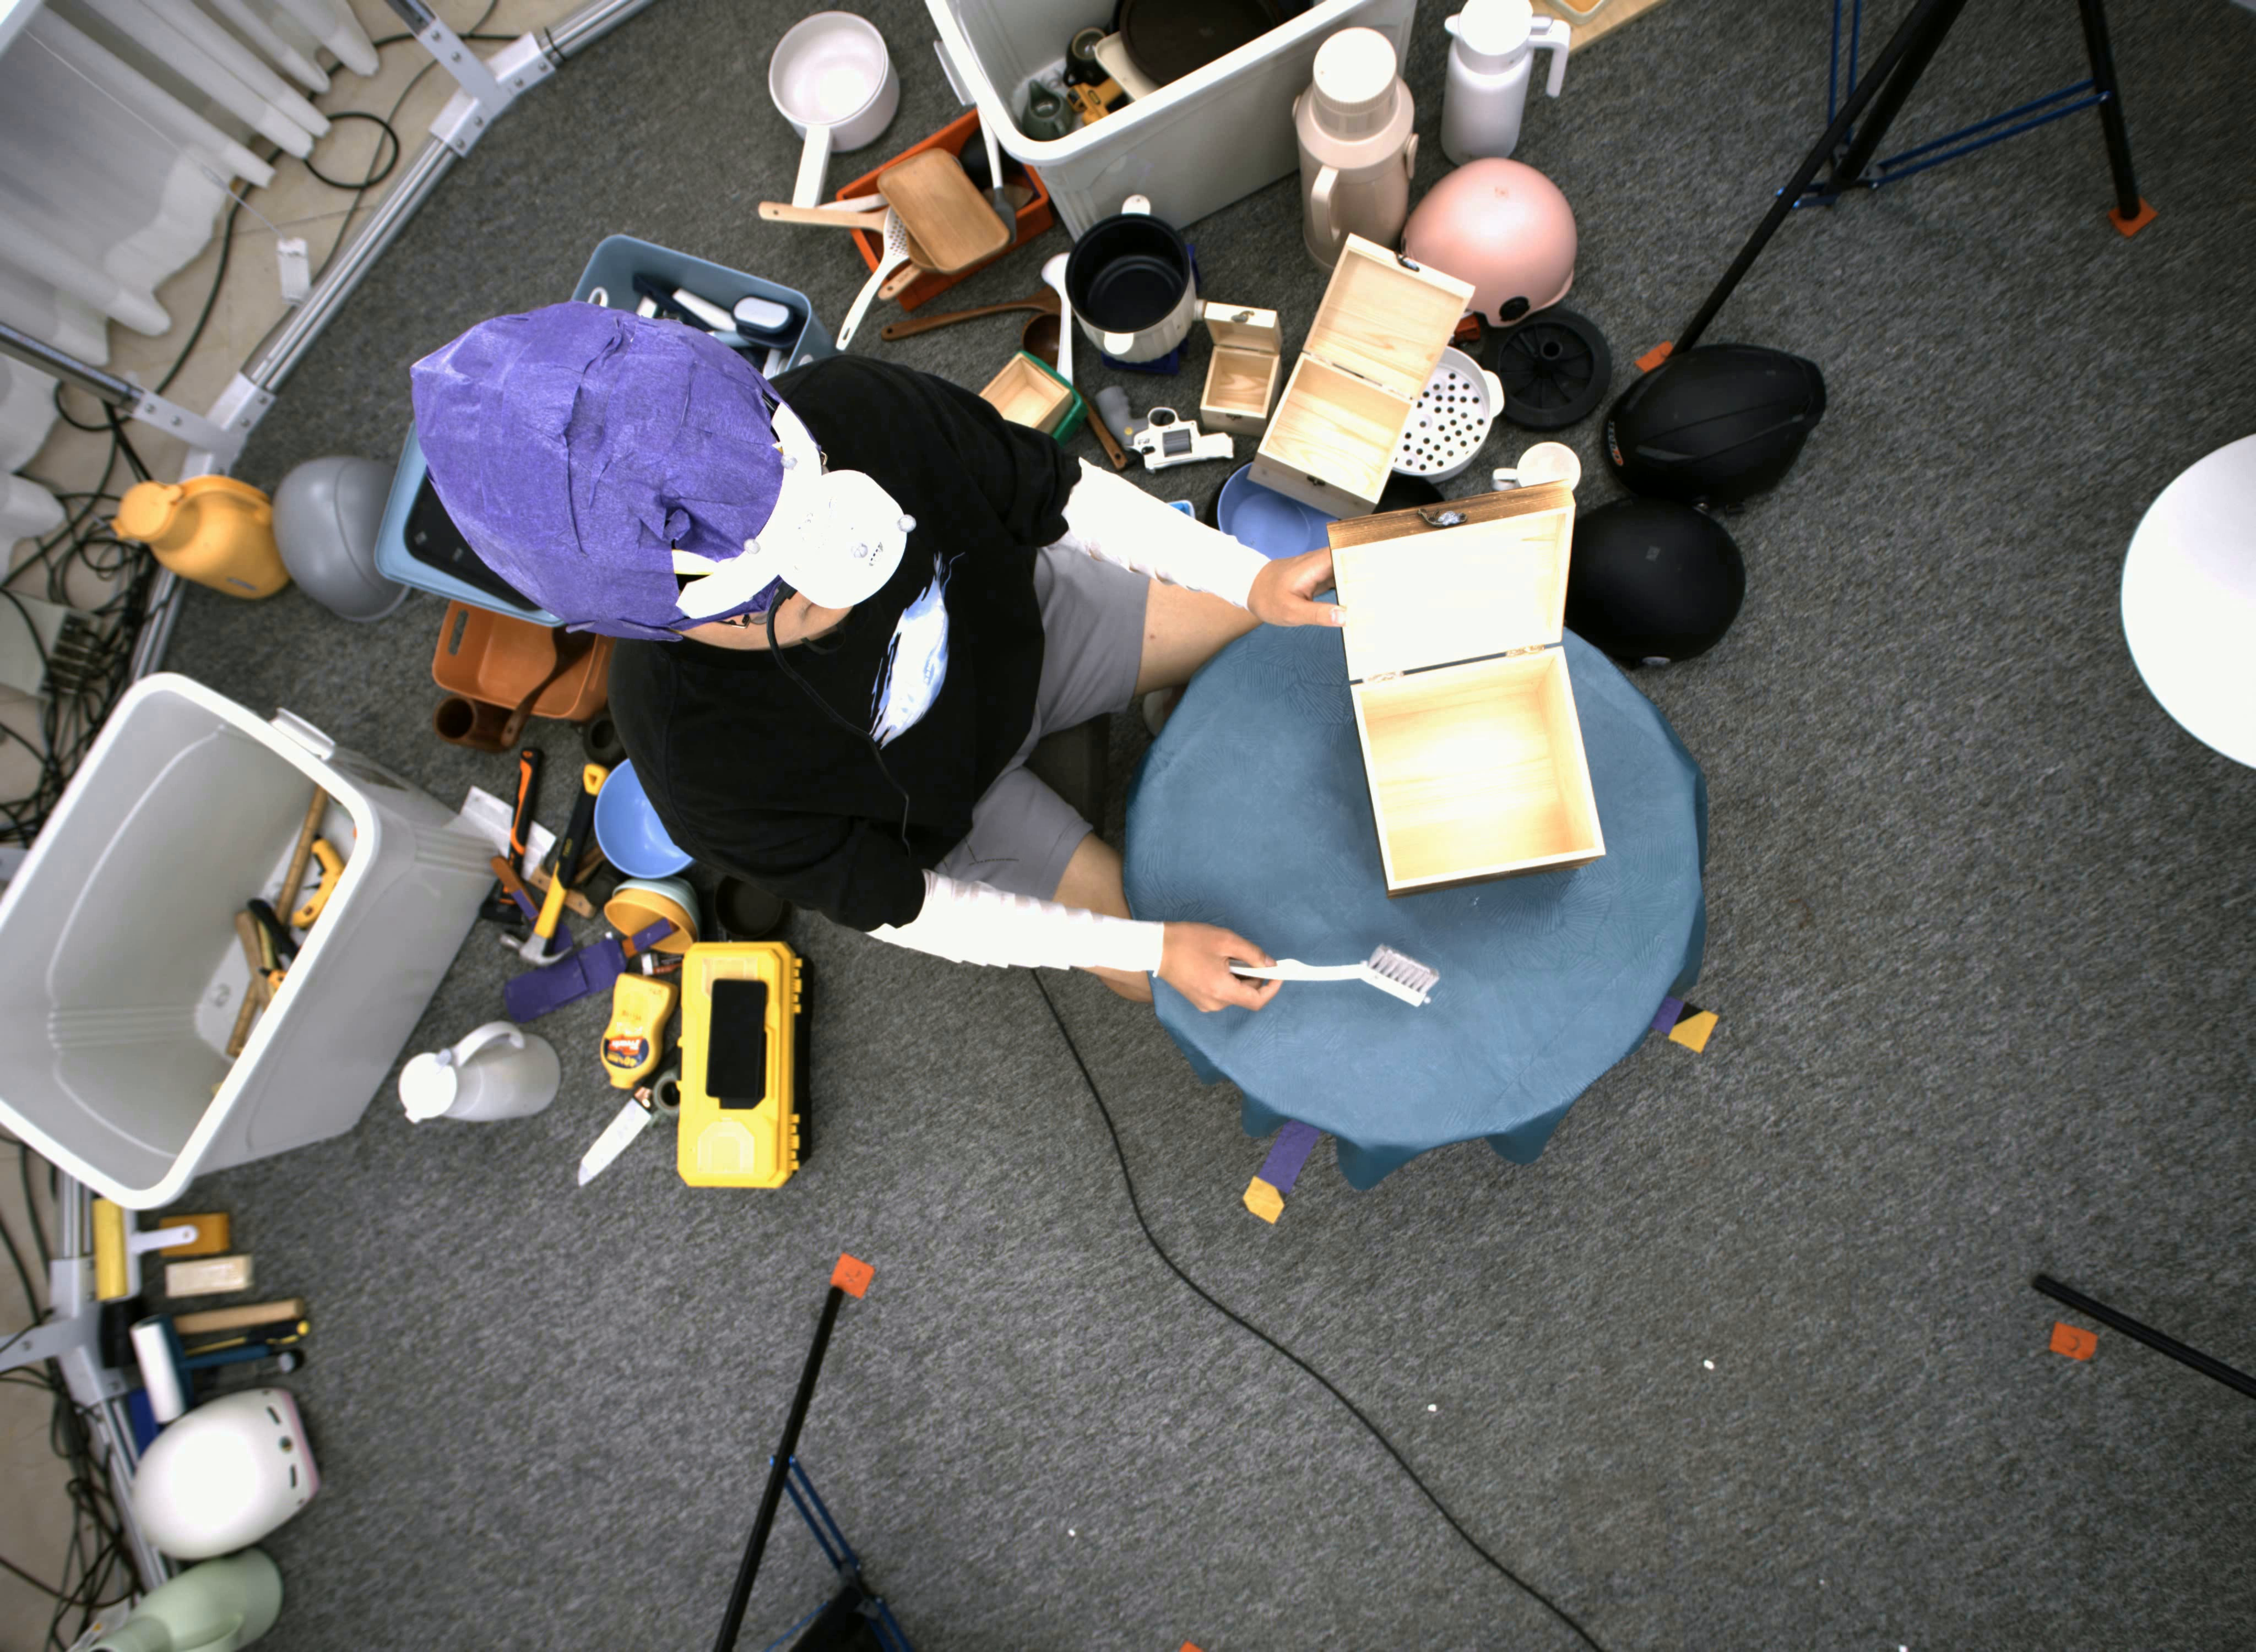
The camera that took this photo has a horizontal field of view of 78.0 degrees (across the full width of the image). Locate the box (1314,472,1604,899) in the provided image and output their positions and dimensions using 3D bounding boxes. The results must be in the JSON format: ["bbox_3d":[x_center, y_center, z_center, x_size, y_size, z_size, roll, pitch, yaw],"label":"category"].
[{"bbox_3d":[0.313,-0.109,1.281,0.210,0.376,0.320,-10,82,11],"label":"box"}]

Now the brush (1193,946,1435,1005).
[{"bbox_3d":[0.186,0.134,1.395,0.244,0.034,0.050,9,99,15],"label":"brush"}]
